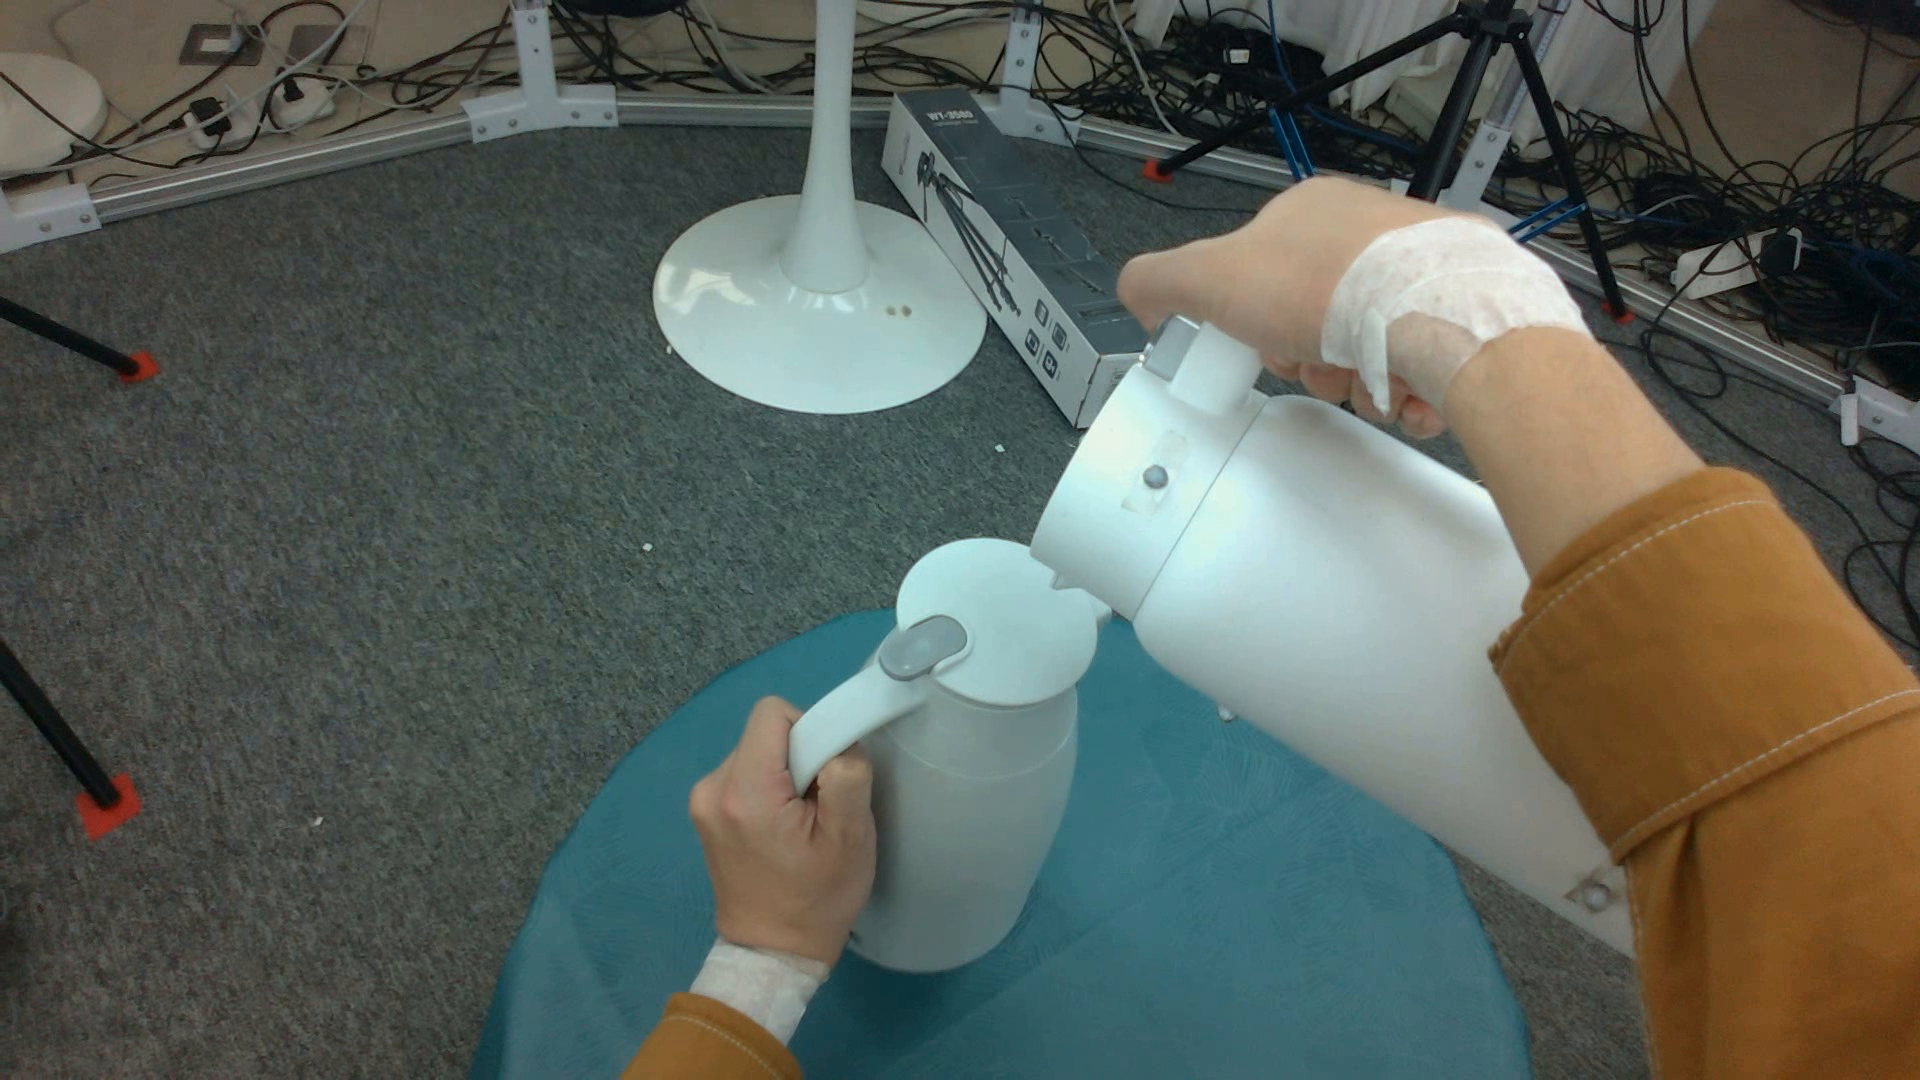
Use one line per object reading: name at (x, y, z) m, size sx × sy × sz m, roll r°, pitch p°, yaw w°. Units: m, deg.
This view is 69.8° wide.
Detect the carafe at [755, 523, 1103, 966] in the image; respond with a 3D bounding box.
carafe at (-0.023, 0.108, 0.687) m, size 0.168 × 0.247 × 0.133 m, roll -19°, pitch 57°, yaw -27°

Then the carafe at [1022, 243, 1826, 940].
carafe at (0.167, 0.015, 0.501) m, size 0.269 × 0.172 × 0.124 m, roll 33°, pitch 37°, yaw 10°
